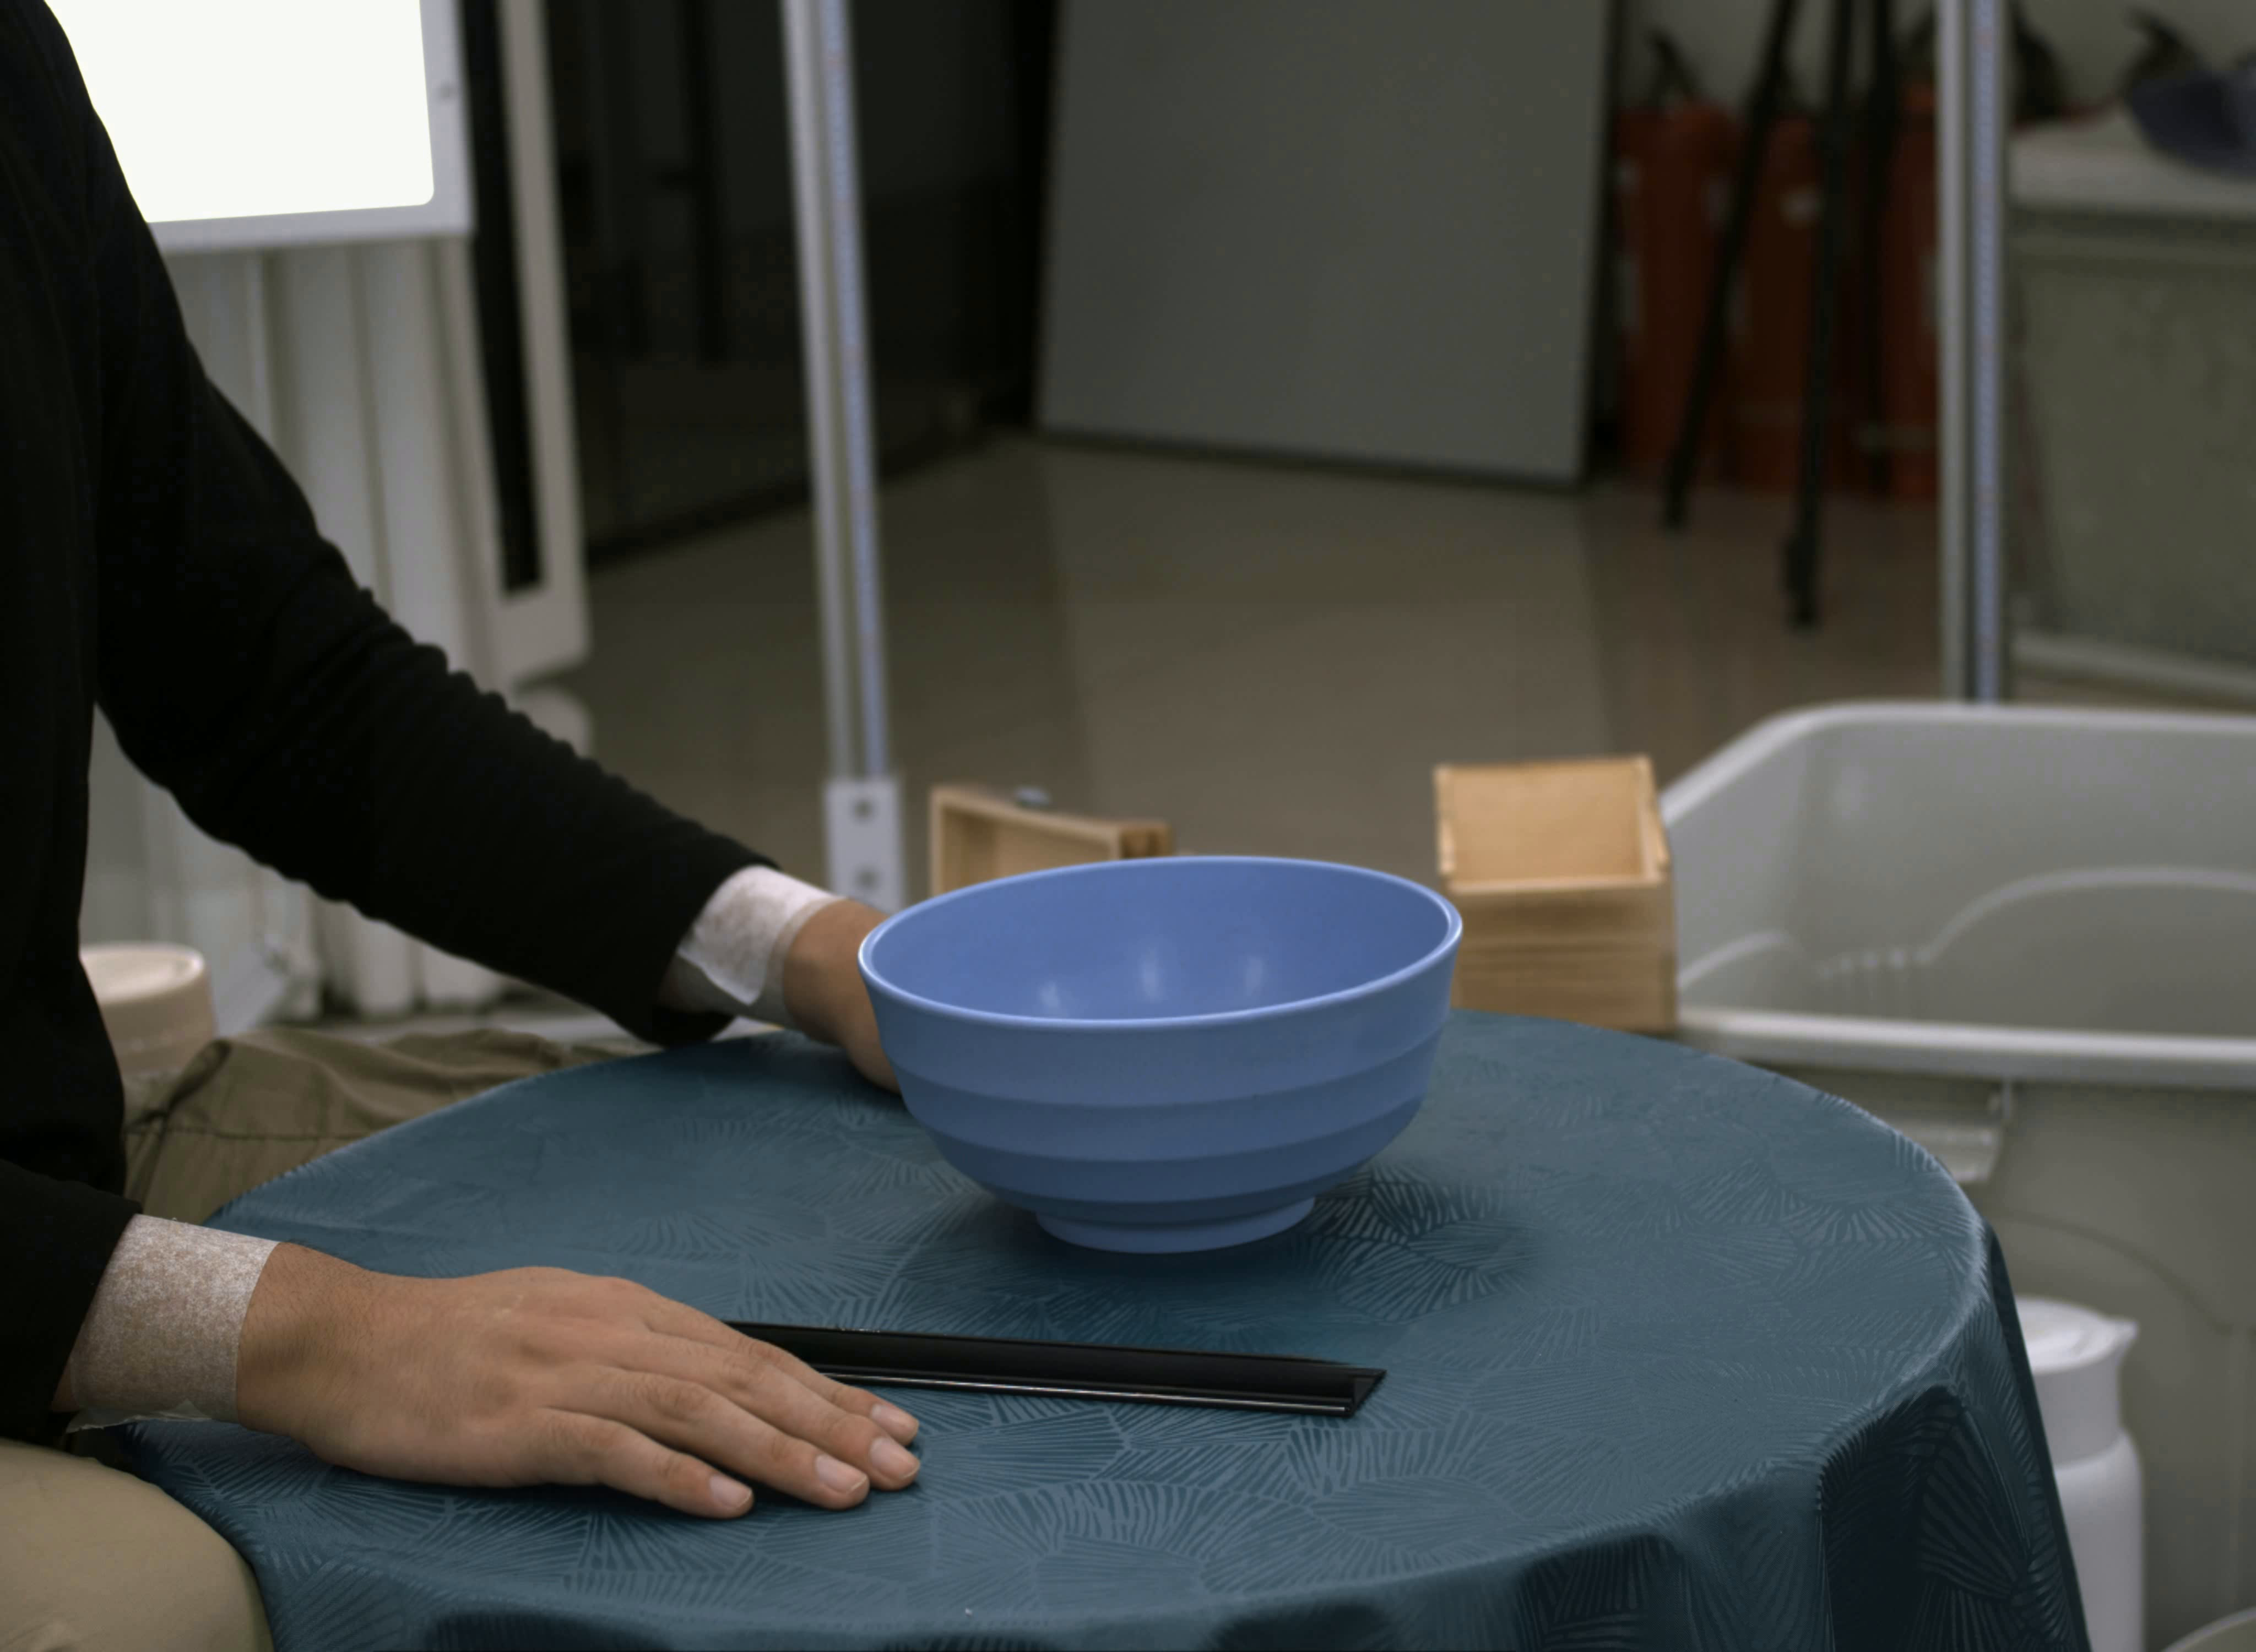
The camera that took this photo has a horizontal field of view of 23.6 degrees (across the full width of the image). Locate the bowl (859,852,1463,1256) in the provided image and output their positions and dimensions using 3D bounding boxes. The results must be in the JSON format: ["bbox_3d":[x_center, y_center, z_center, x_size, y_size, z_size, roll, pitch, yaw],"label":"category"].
[{"bbox_3d":[0.013,0.079,1.737,0.194,0.096,0.197,-3,13,0],"label":"bowl"}]

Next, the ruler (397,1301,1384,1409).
[{"bbox_3d":[-0.074,0.155,1.622,0.312,0.017,0.039,1,9,22],"label":"ruler"}]
